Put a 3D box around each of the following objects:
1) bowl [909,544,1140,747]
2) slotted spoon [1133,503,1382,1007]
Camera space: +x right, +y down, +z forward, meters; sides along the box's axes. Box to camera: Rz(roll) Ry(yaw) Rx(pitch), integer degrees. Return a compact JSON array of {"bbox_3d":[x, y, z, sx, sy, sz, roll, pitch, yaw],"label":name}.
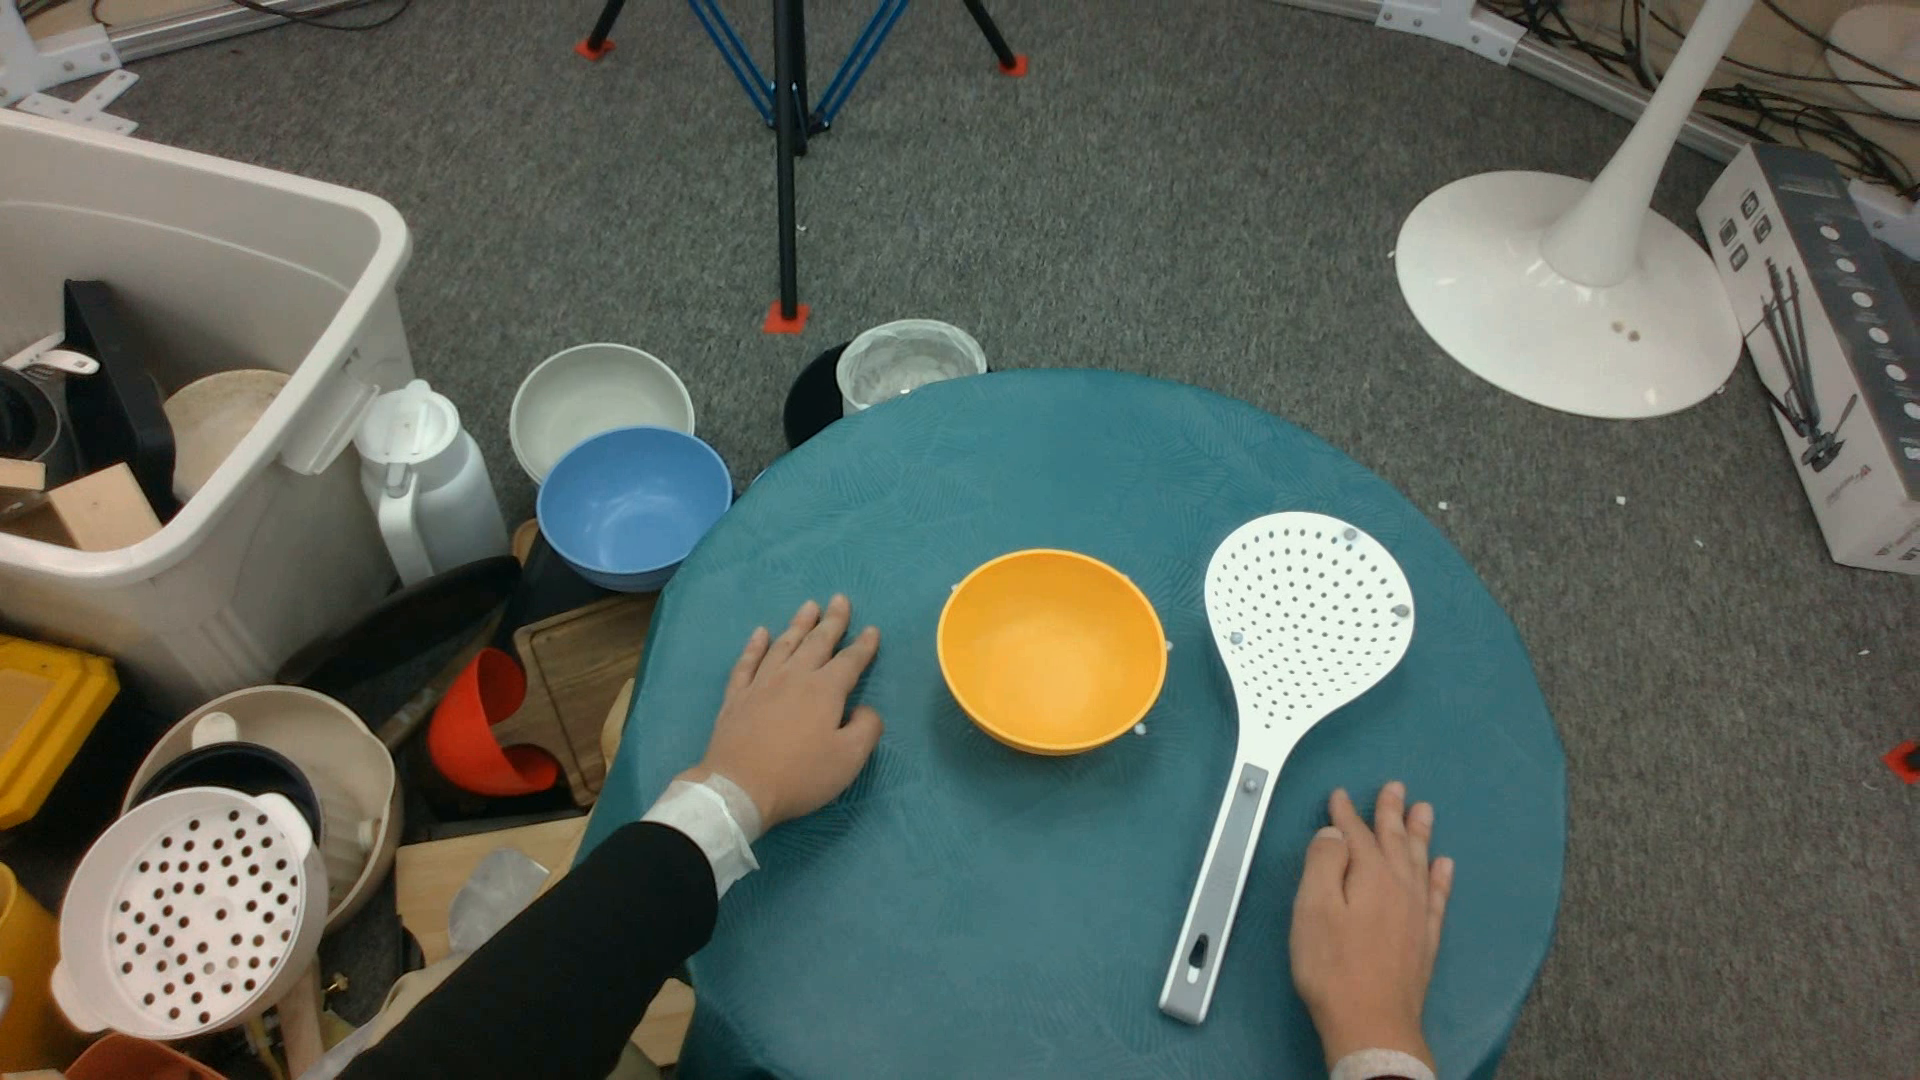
[{"bbox_3d":[0.039,0.076,0.878,0.145,0.060,0.146,2,53,-3],"label":"bowl"},{"bbox_3d":[0.173,0.123,0.866,0.136,0.045,0.351,19,56,9],"label":"slotted spoon"}]
